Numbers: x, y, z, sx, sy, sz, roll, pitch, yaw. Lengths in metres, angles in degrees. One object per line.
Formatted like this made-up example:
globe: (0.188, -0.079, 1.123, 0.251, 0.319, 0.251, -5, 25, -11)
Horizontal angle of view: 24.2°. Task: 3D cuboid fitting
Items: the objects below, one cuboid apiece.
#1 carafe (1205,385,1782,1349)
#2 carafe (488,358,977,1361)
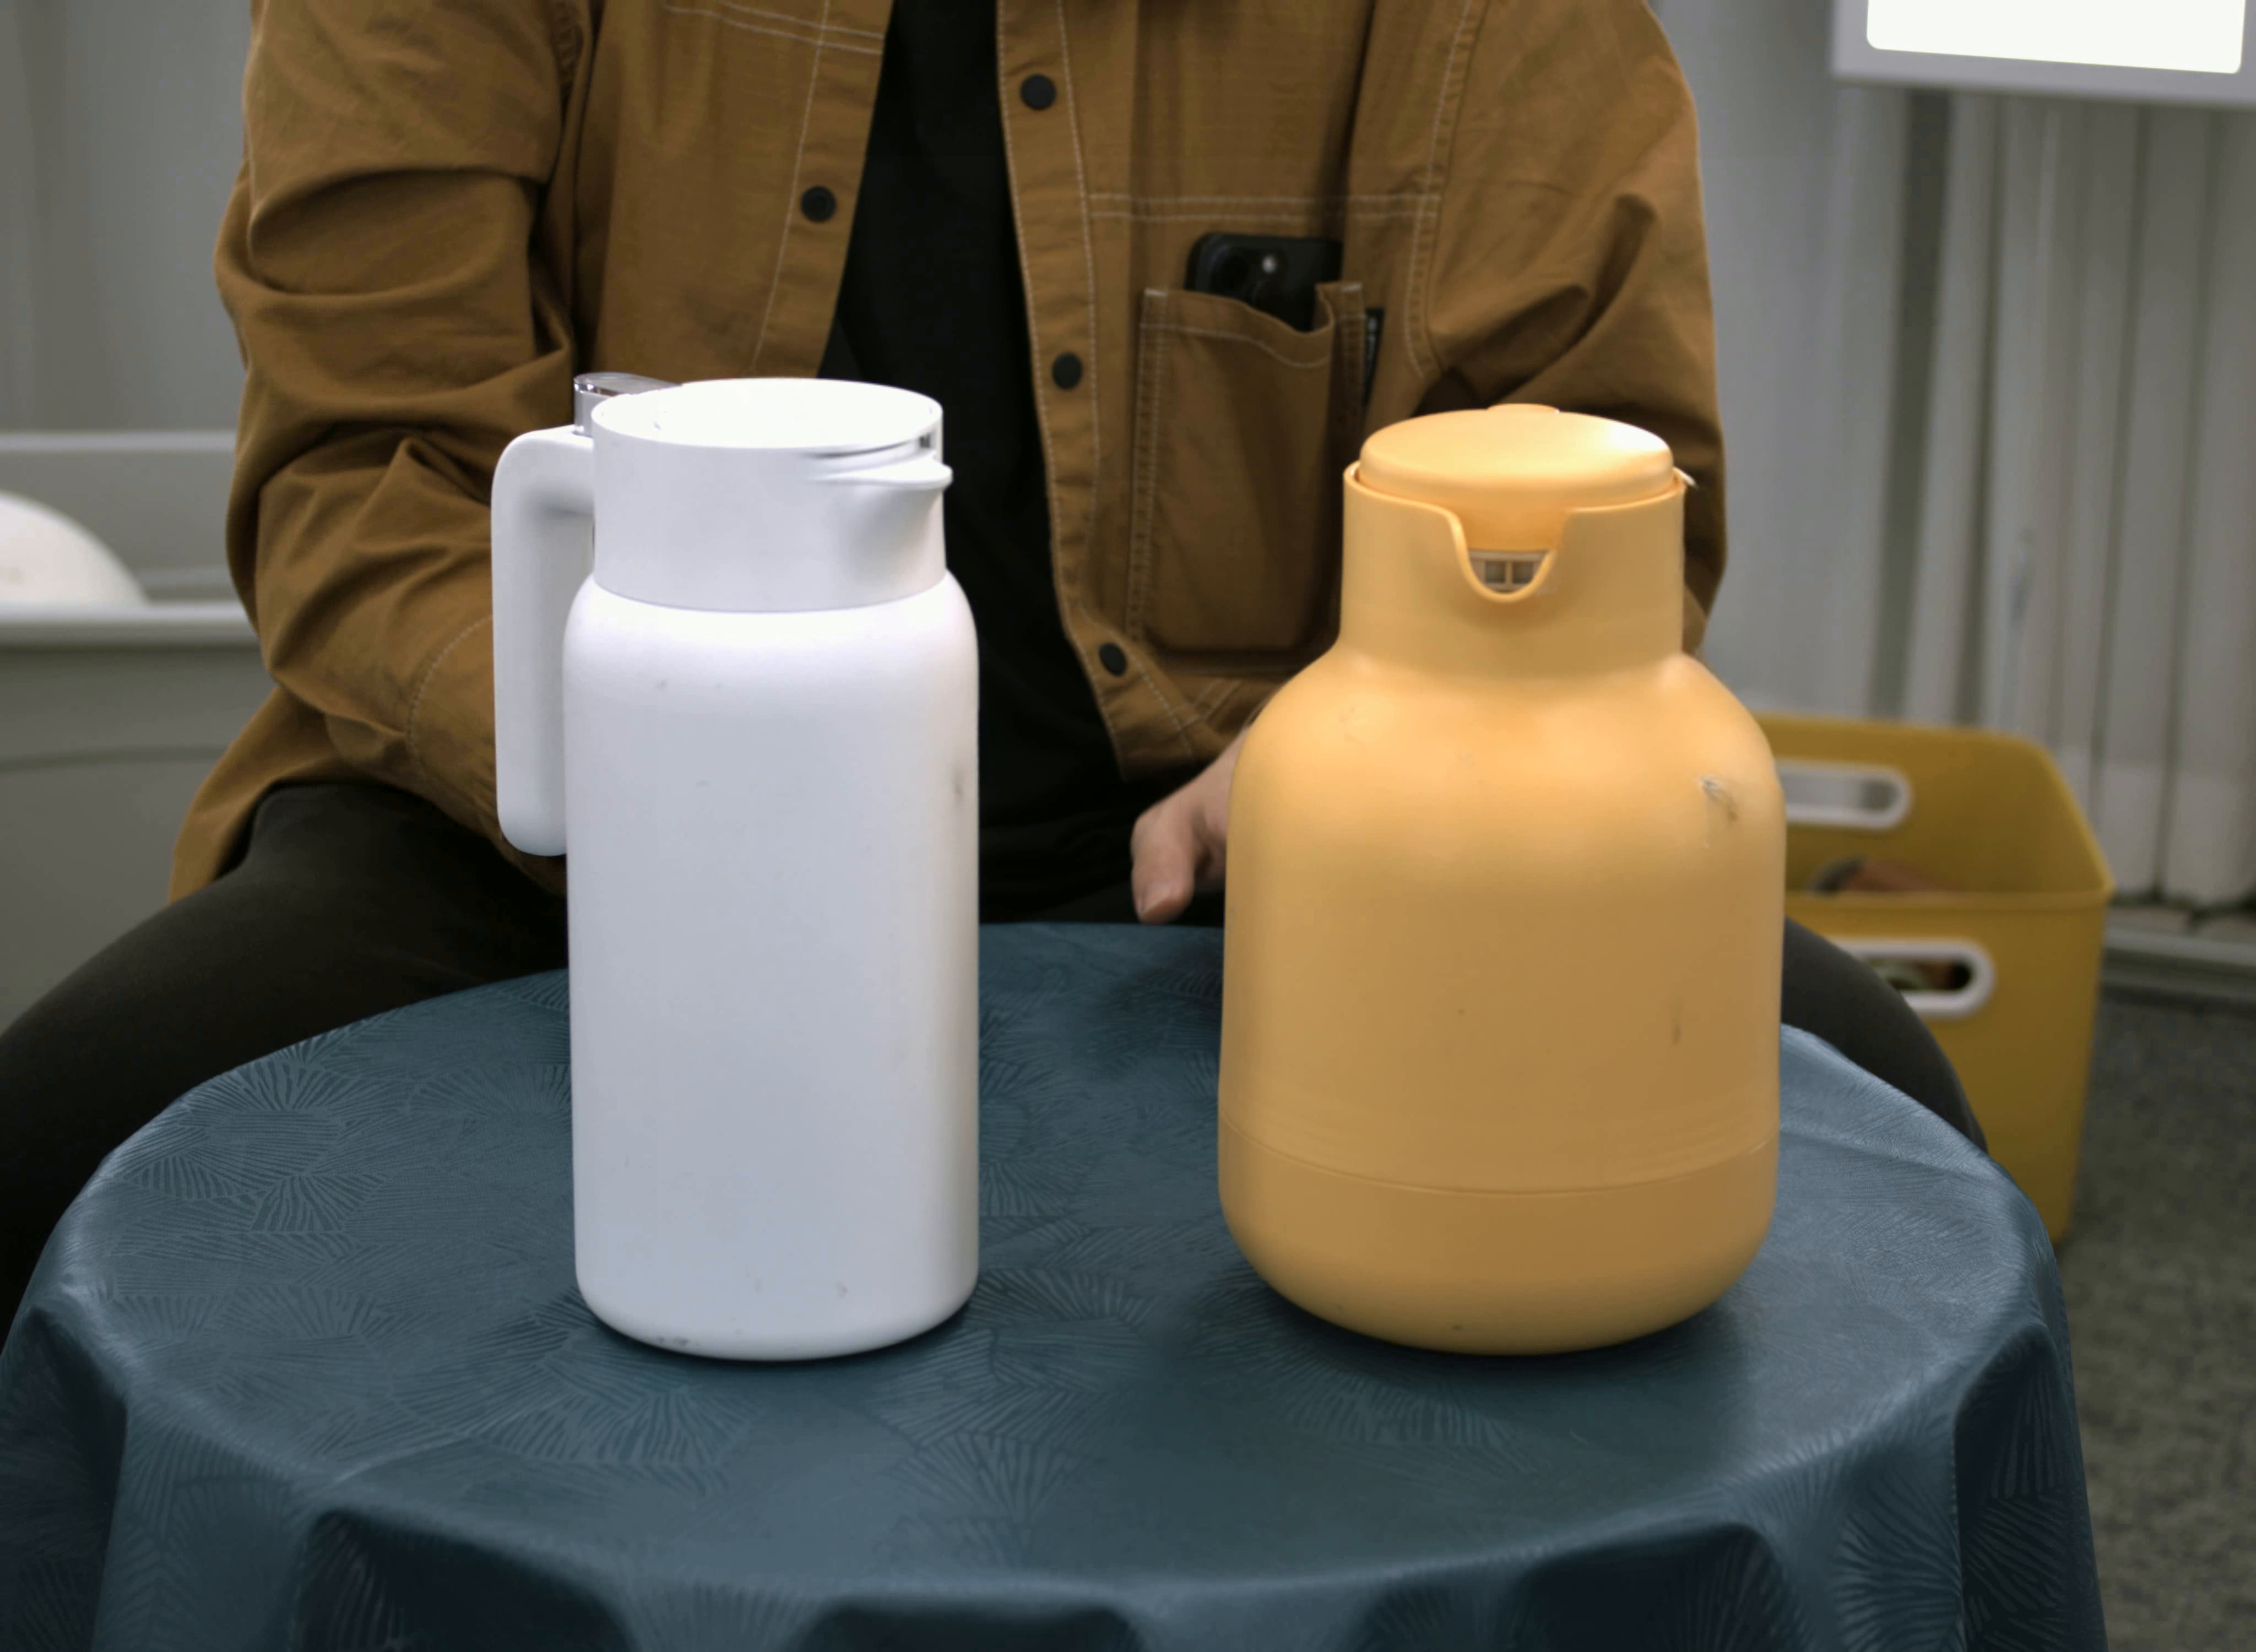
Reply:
carafe: (0.110, 0.003, 1.523, 0.162, 0.262, 0.202, 5, 18, 7)
carafe: (-0.115, 0.006, 1.499, 0.170, 0.271, 0.124, 14, 23, 39)
